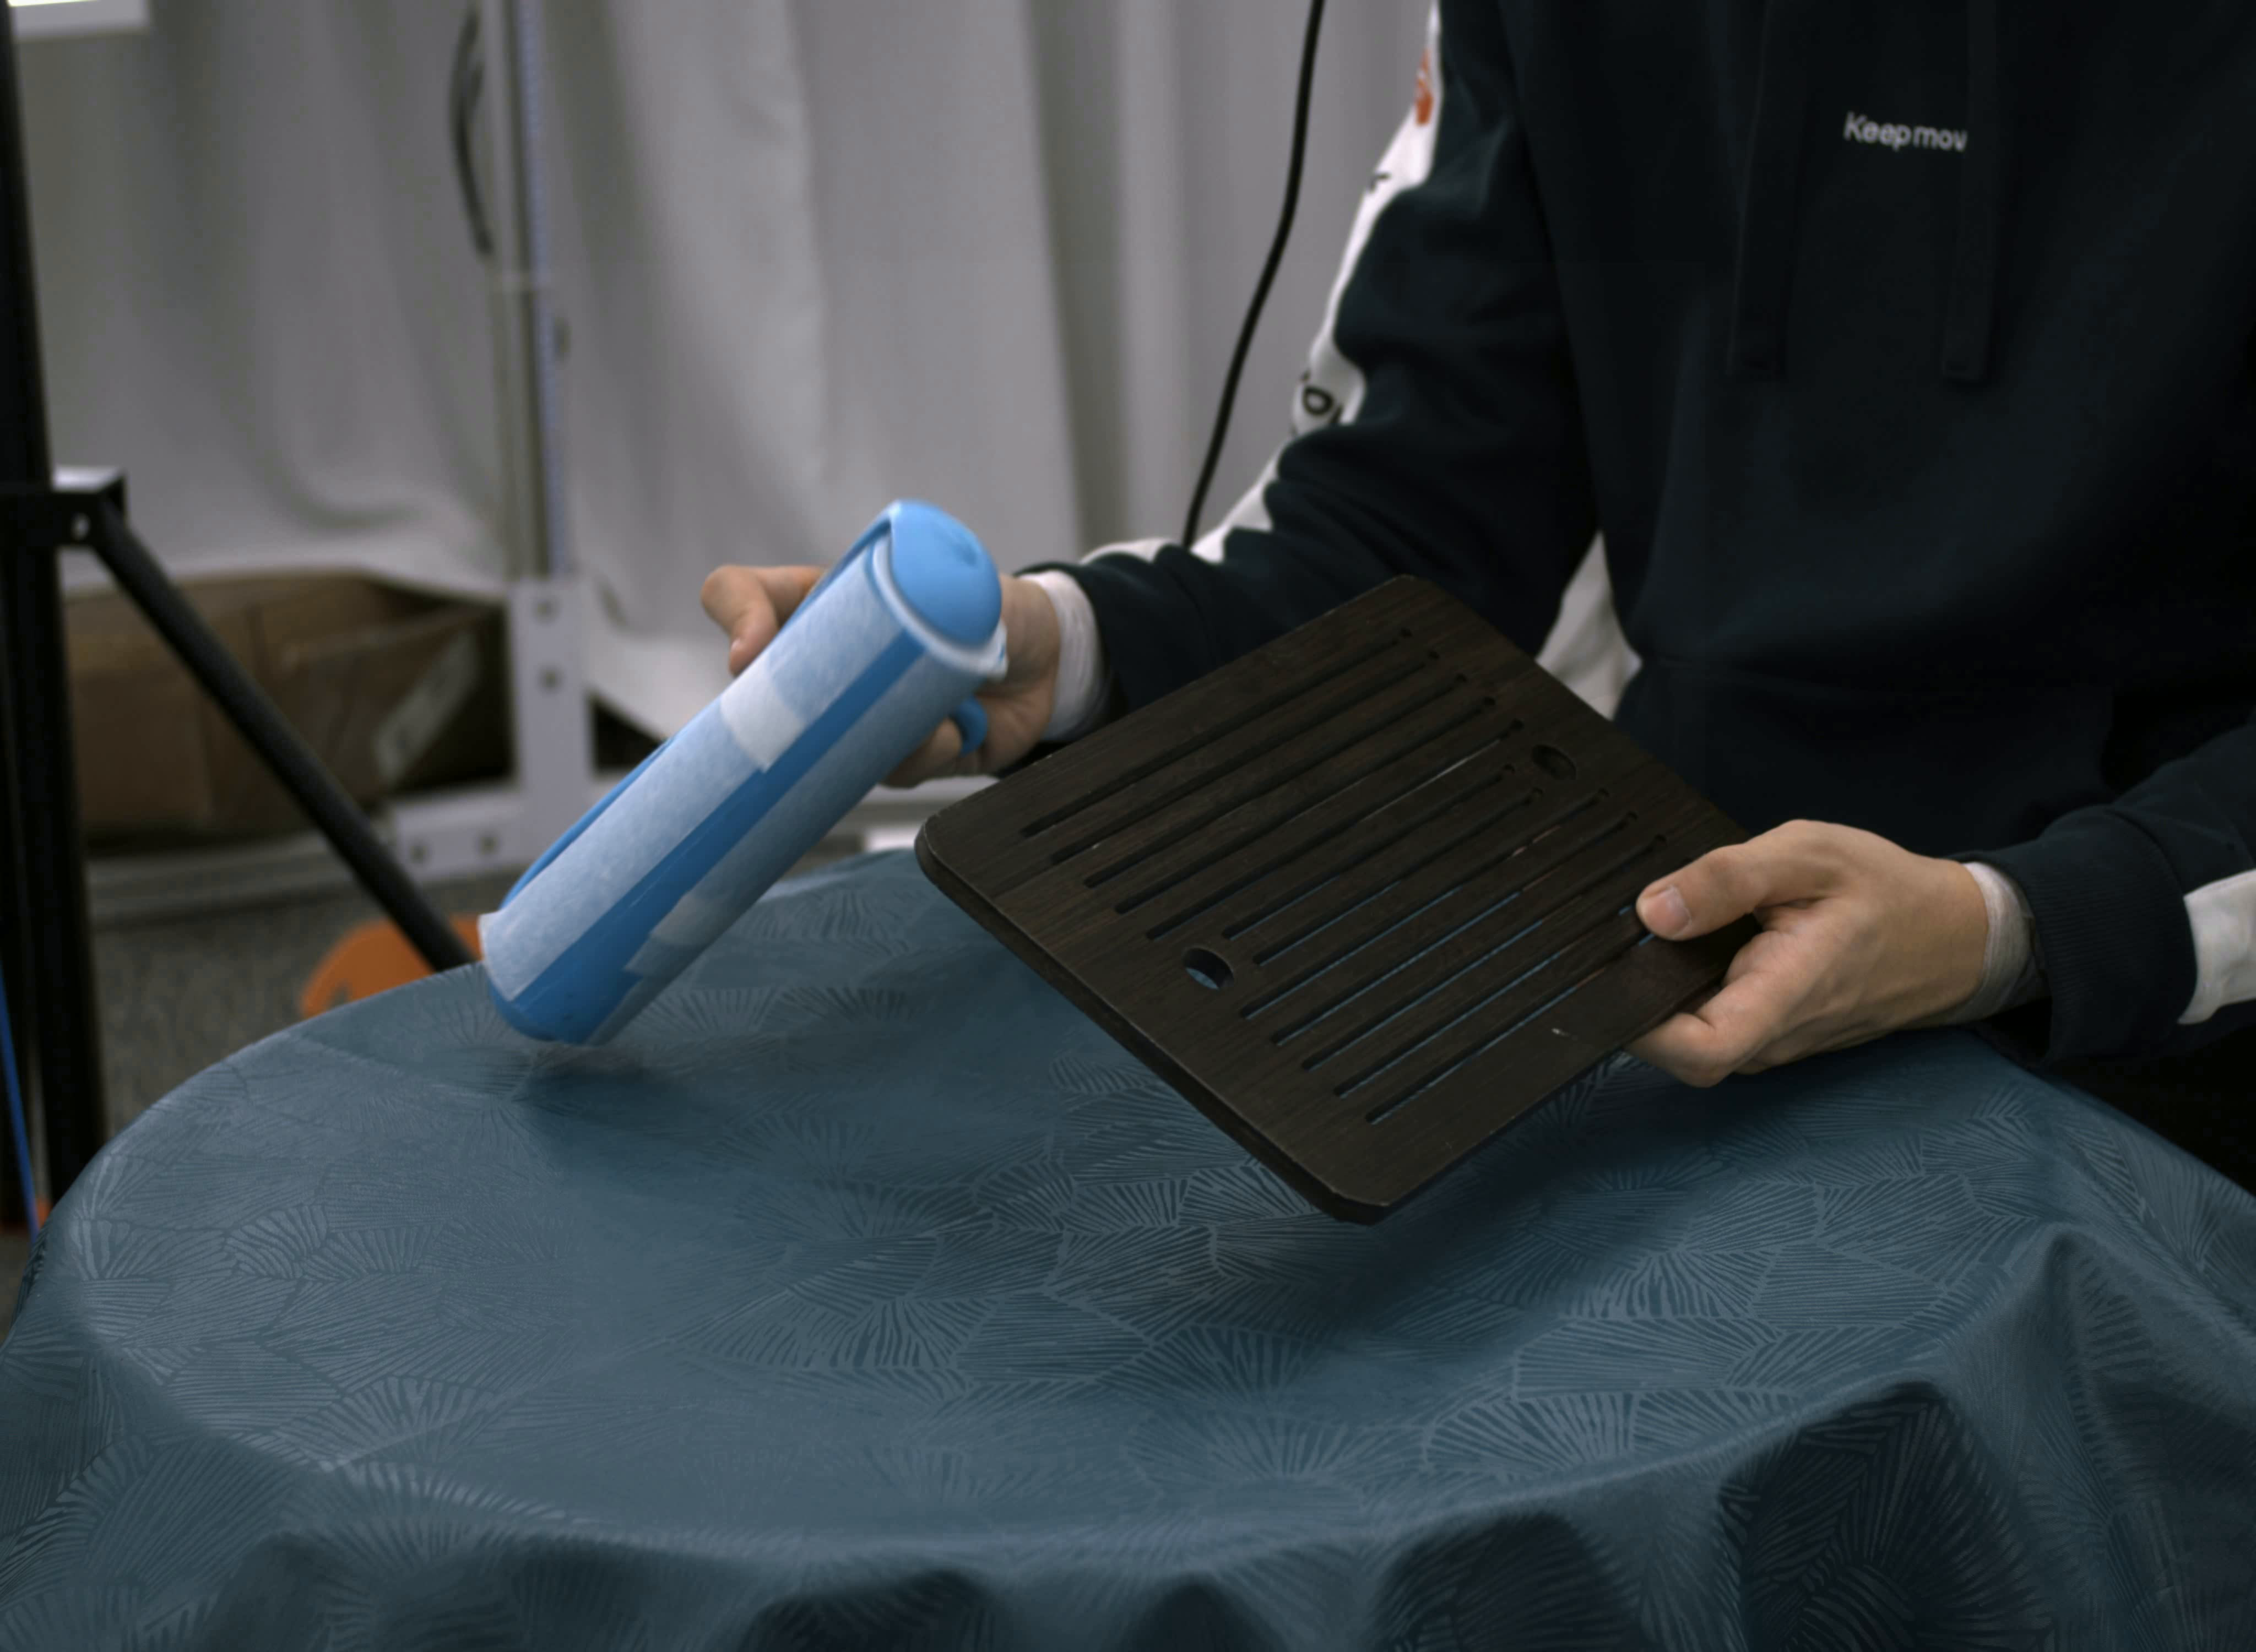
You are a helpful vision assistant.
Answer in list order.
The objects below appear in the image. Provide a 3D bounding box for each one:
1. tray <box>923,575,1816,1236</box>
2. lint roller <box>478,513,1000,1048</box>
[{"bbox_3d":[0.076,0.018,1.551,0.172,0.019,0.300,39,33,16],"label":"tray"},{"bbox_3d":[-0.104,-0.022,1.711,0.231,0.068,0.178,-43,-3,24],"label":"lint roller"}]
